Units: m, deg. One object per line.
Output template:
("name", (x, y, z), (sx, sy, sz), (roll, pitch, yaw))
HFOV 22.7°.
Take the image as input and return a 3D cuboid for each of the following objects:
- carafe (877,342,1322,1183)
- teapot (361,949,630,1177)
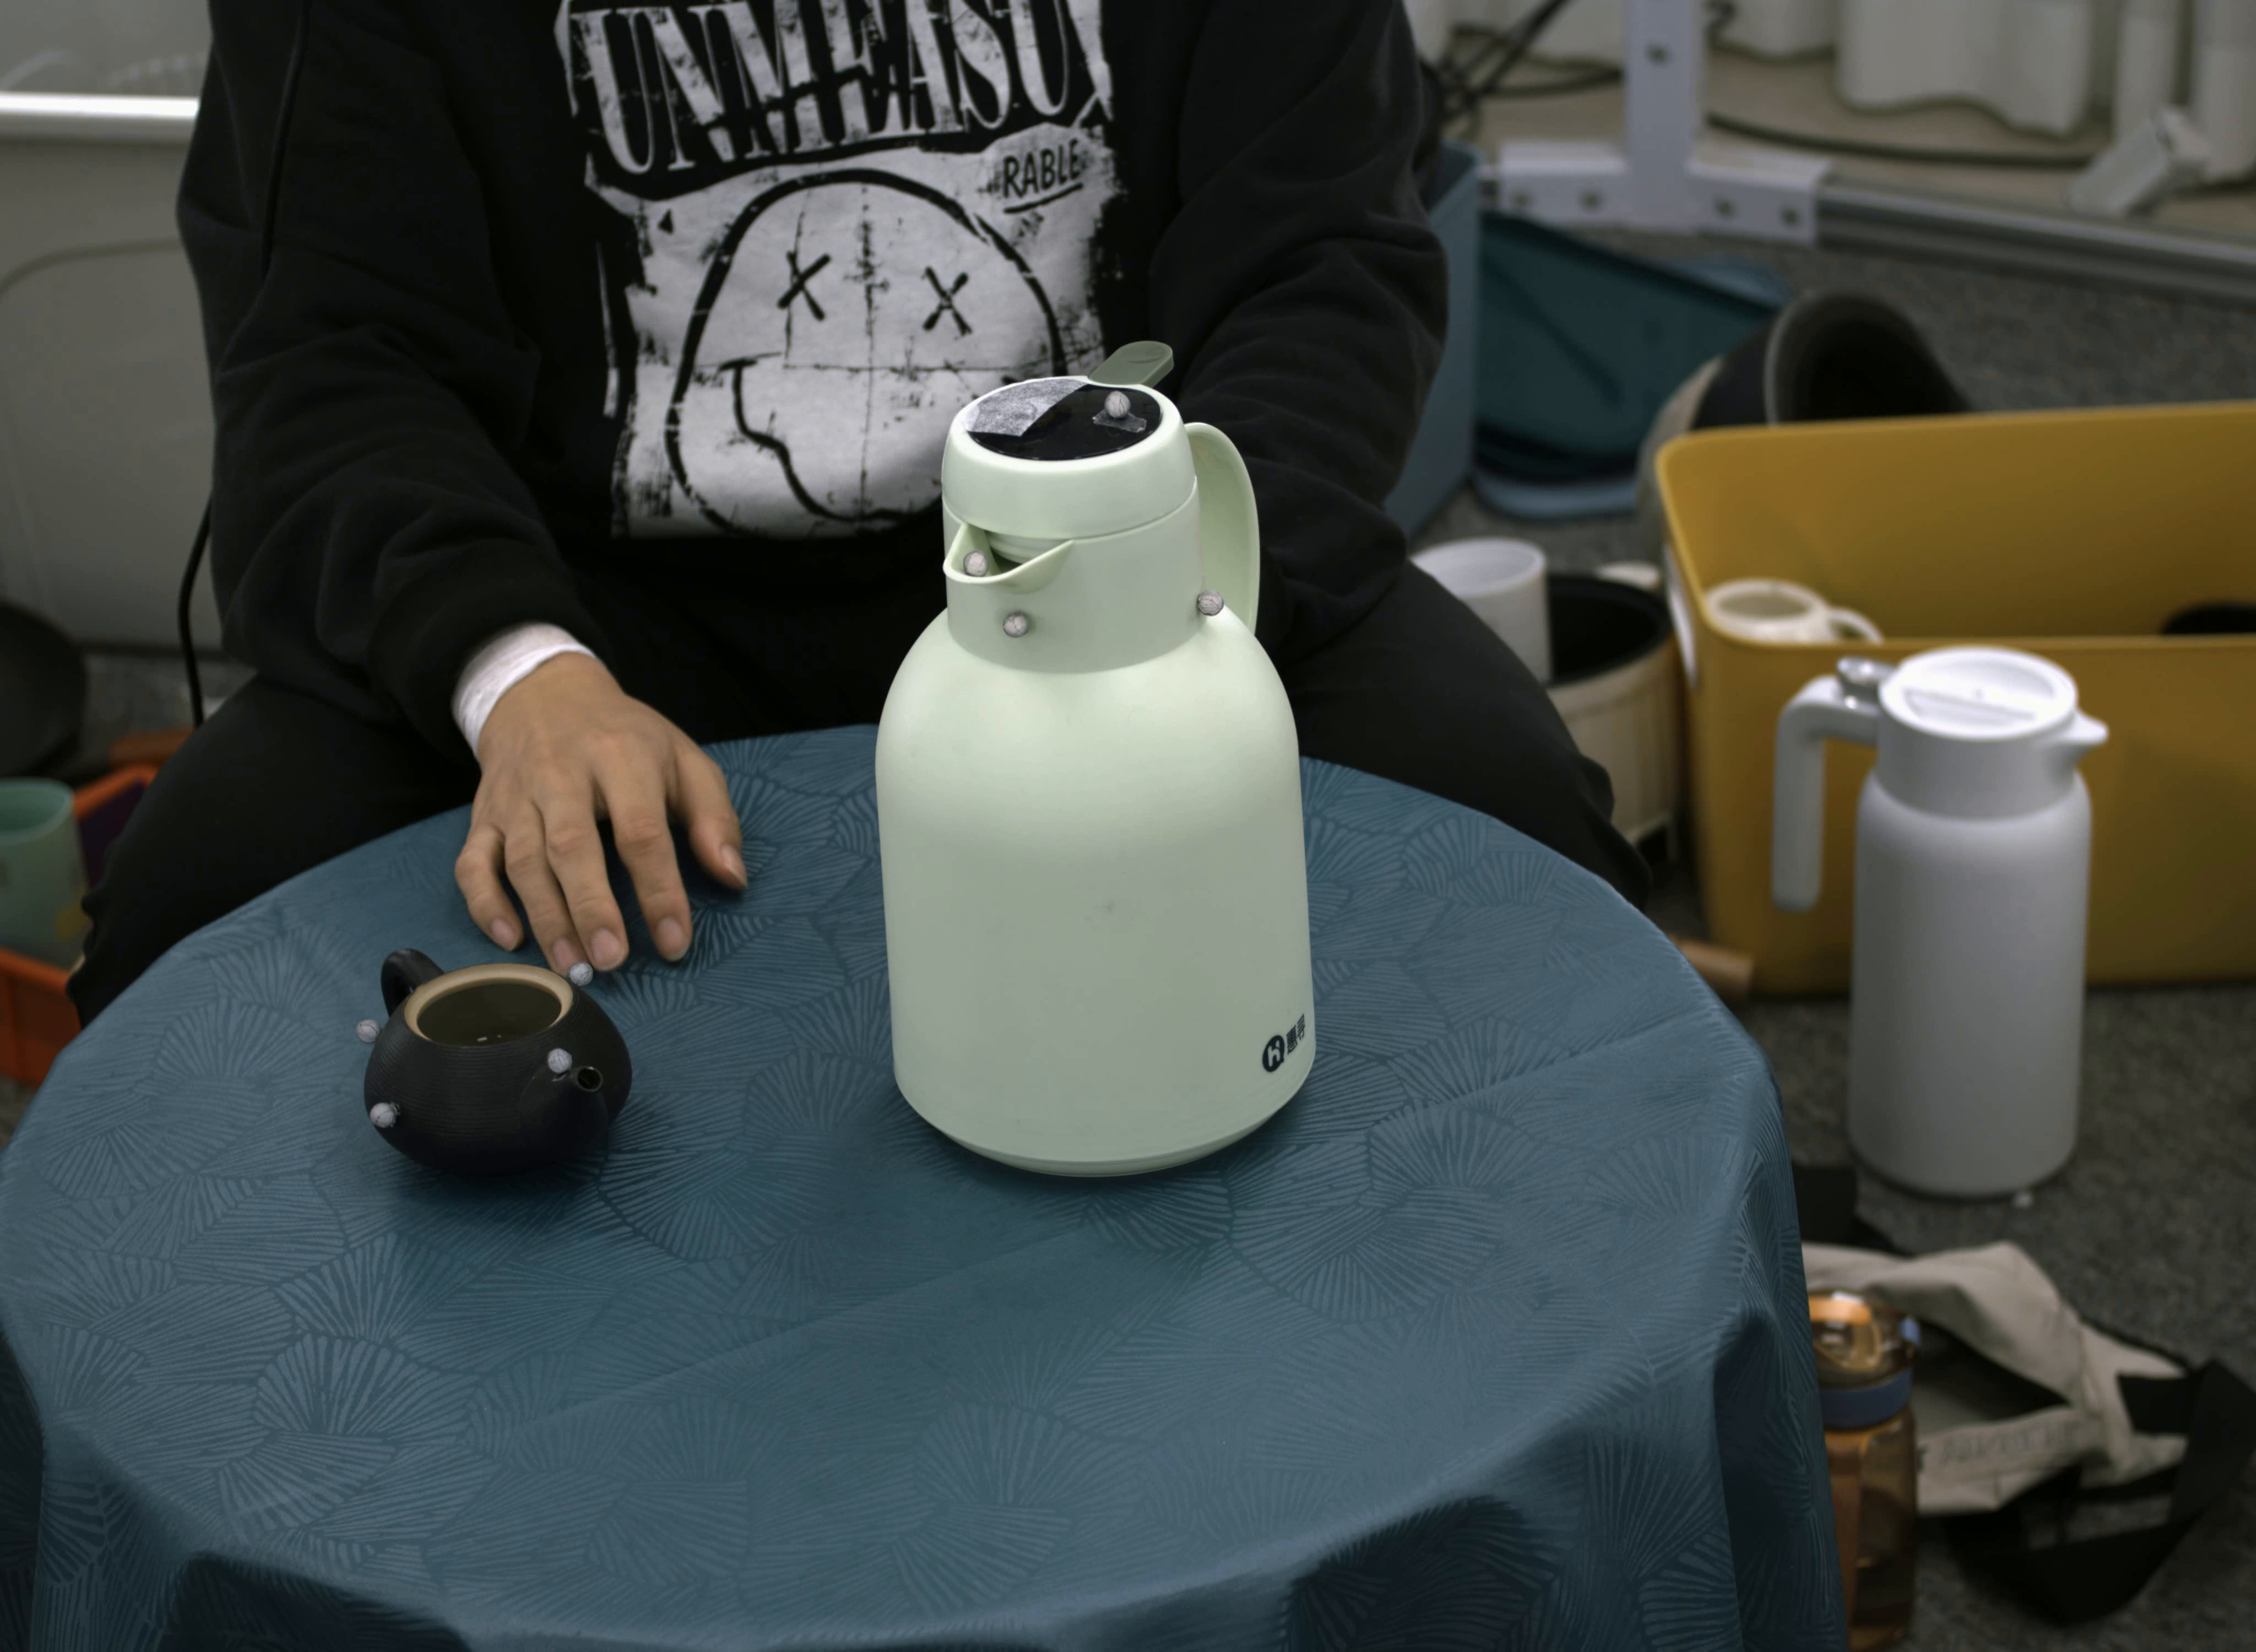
("carafe", (-0.007, -0.026, 1.877), (0.143, 0.254, 0.189), (8, 25, 24))
("teapot", (-0.214, 0.083, 1.896), (0.092, 0.052, 0.133), (-20, 32, -34))
